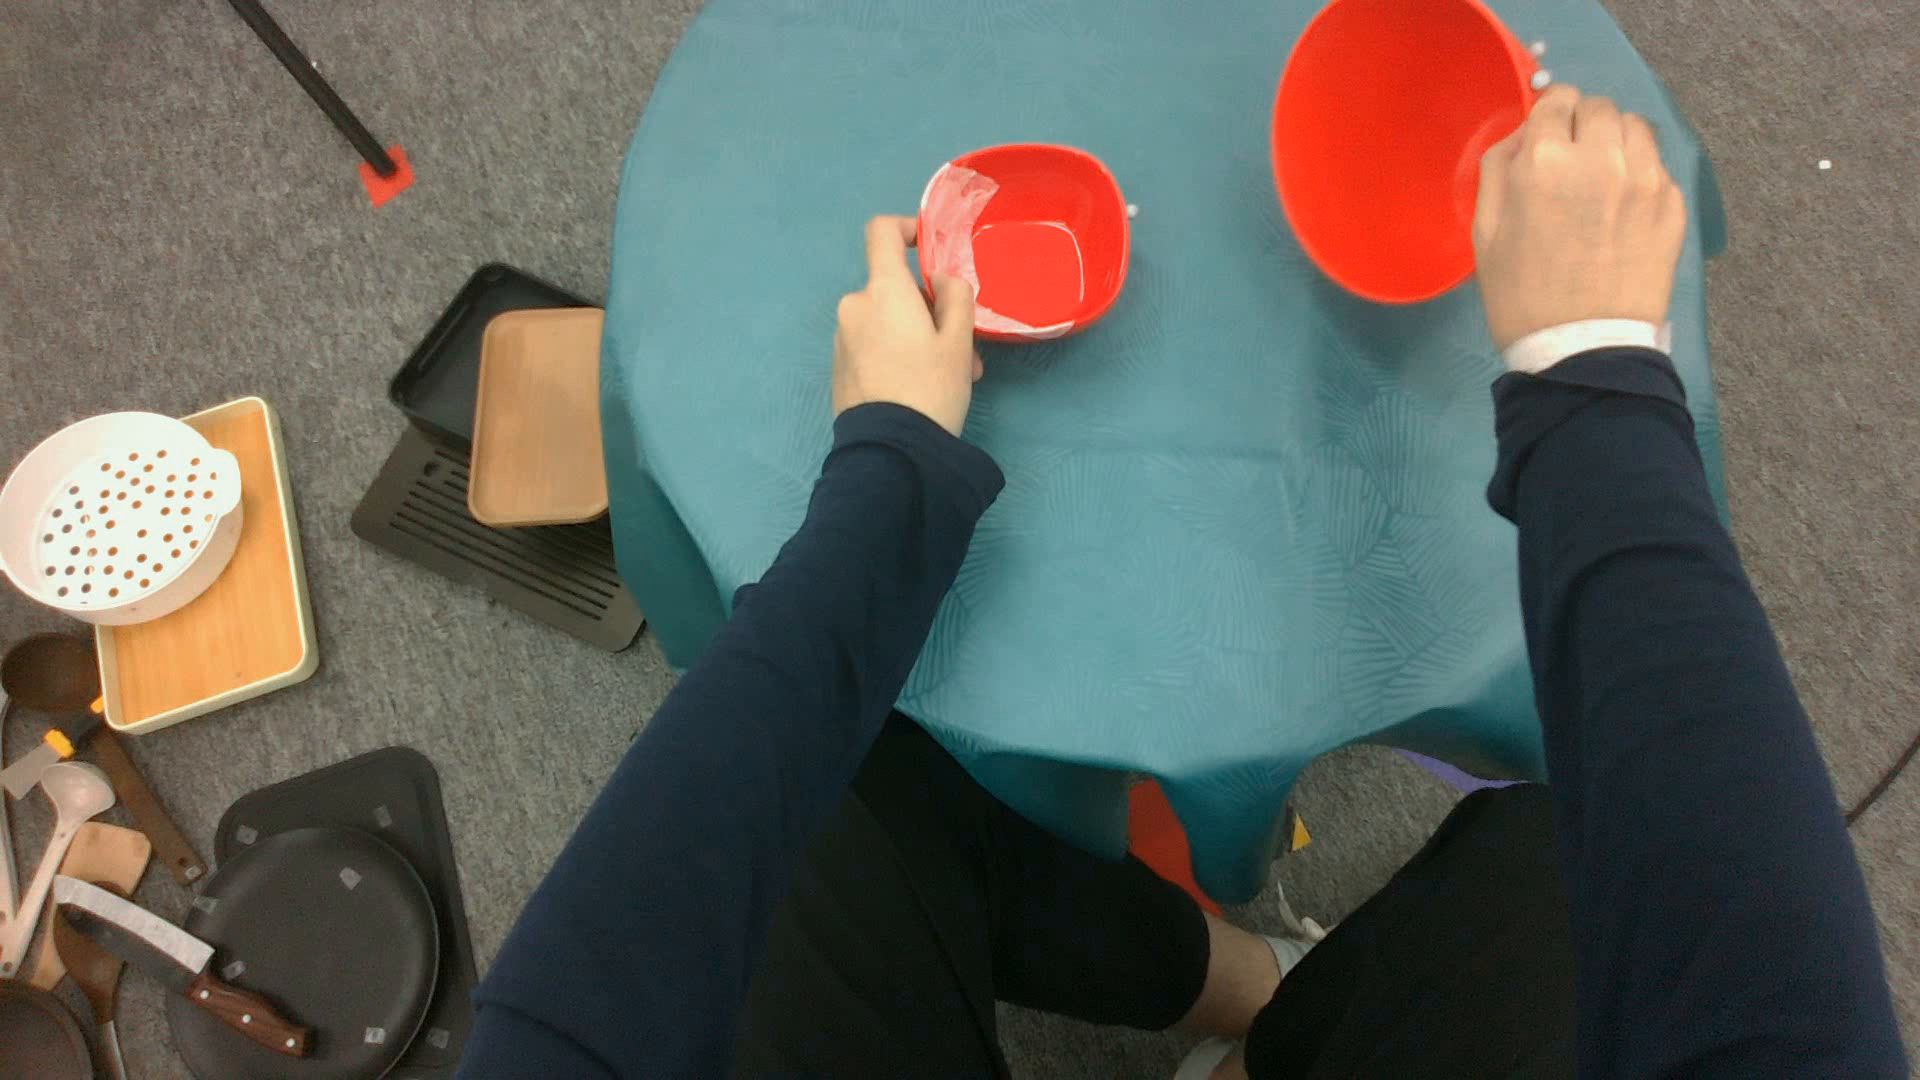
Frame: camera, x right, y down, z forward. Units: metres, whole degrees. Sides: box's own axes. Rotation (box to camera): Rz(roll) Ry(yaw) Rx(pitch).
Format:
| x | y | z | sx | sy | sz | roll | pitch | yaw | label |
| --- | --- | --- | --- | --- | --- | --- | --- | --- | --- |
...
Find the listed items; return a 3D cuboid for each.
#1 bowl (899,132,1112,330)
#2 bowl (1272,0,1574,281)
| x | y | z | sx | sy | sz | roll | pitch | yaw | label |
| --- | --- | --- | --- | --- | --- | --- | --- | --- | --- |
| 0.024 | -0.156 | 0.734 | 0.119 | 0.051 | 0.119 | 0 | 73 | 2 | bowl |
| 0.235 | -0.202 | 0.668 | 0.105 | 0.147 | 0.148 | -9 | 70 | -28 | bowl |
